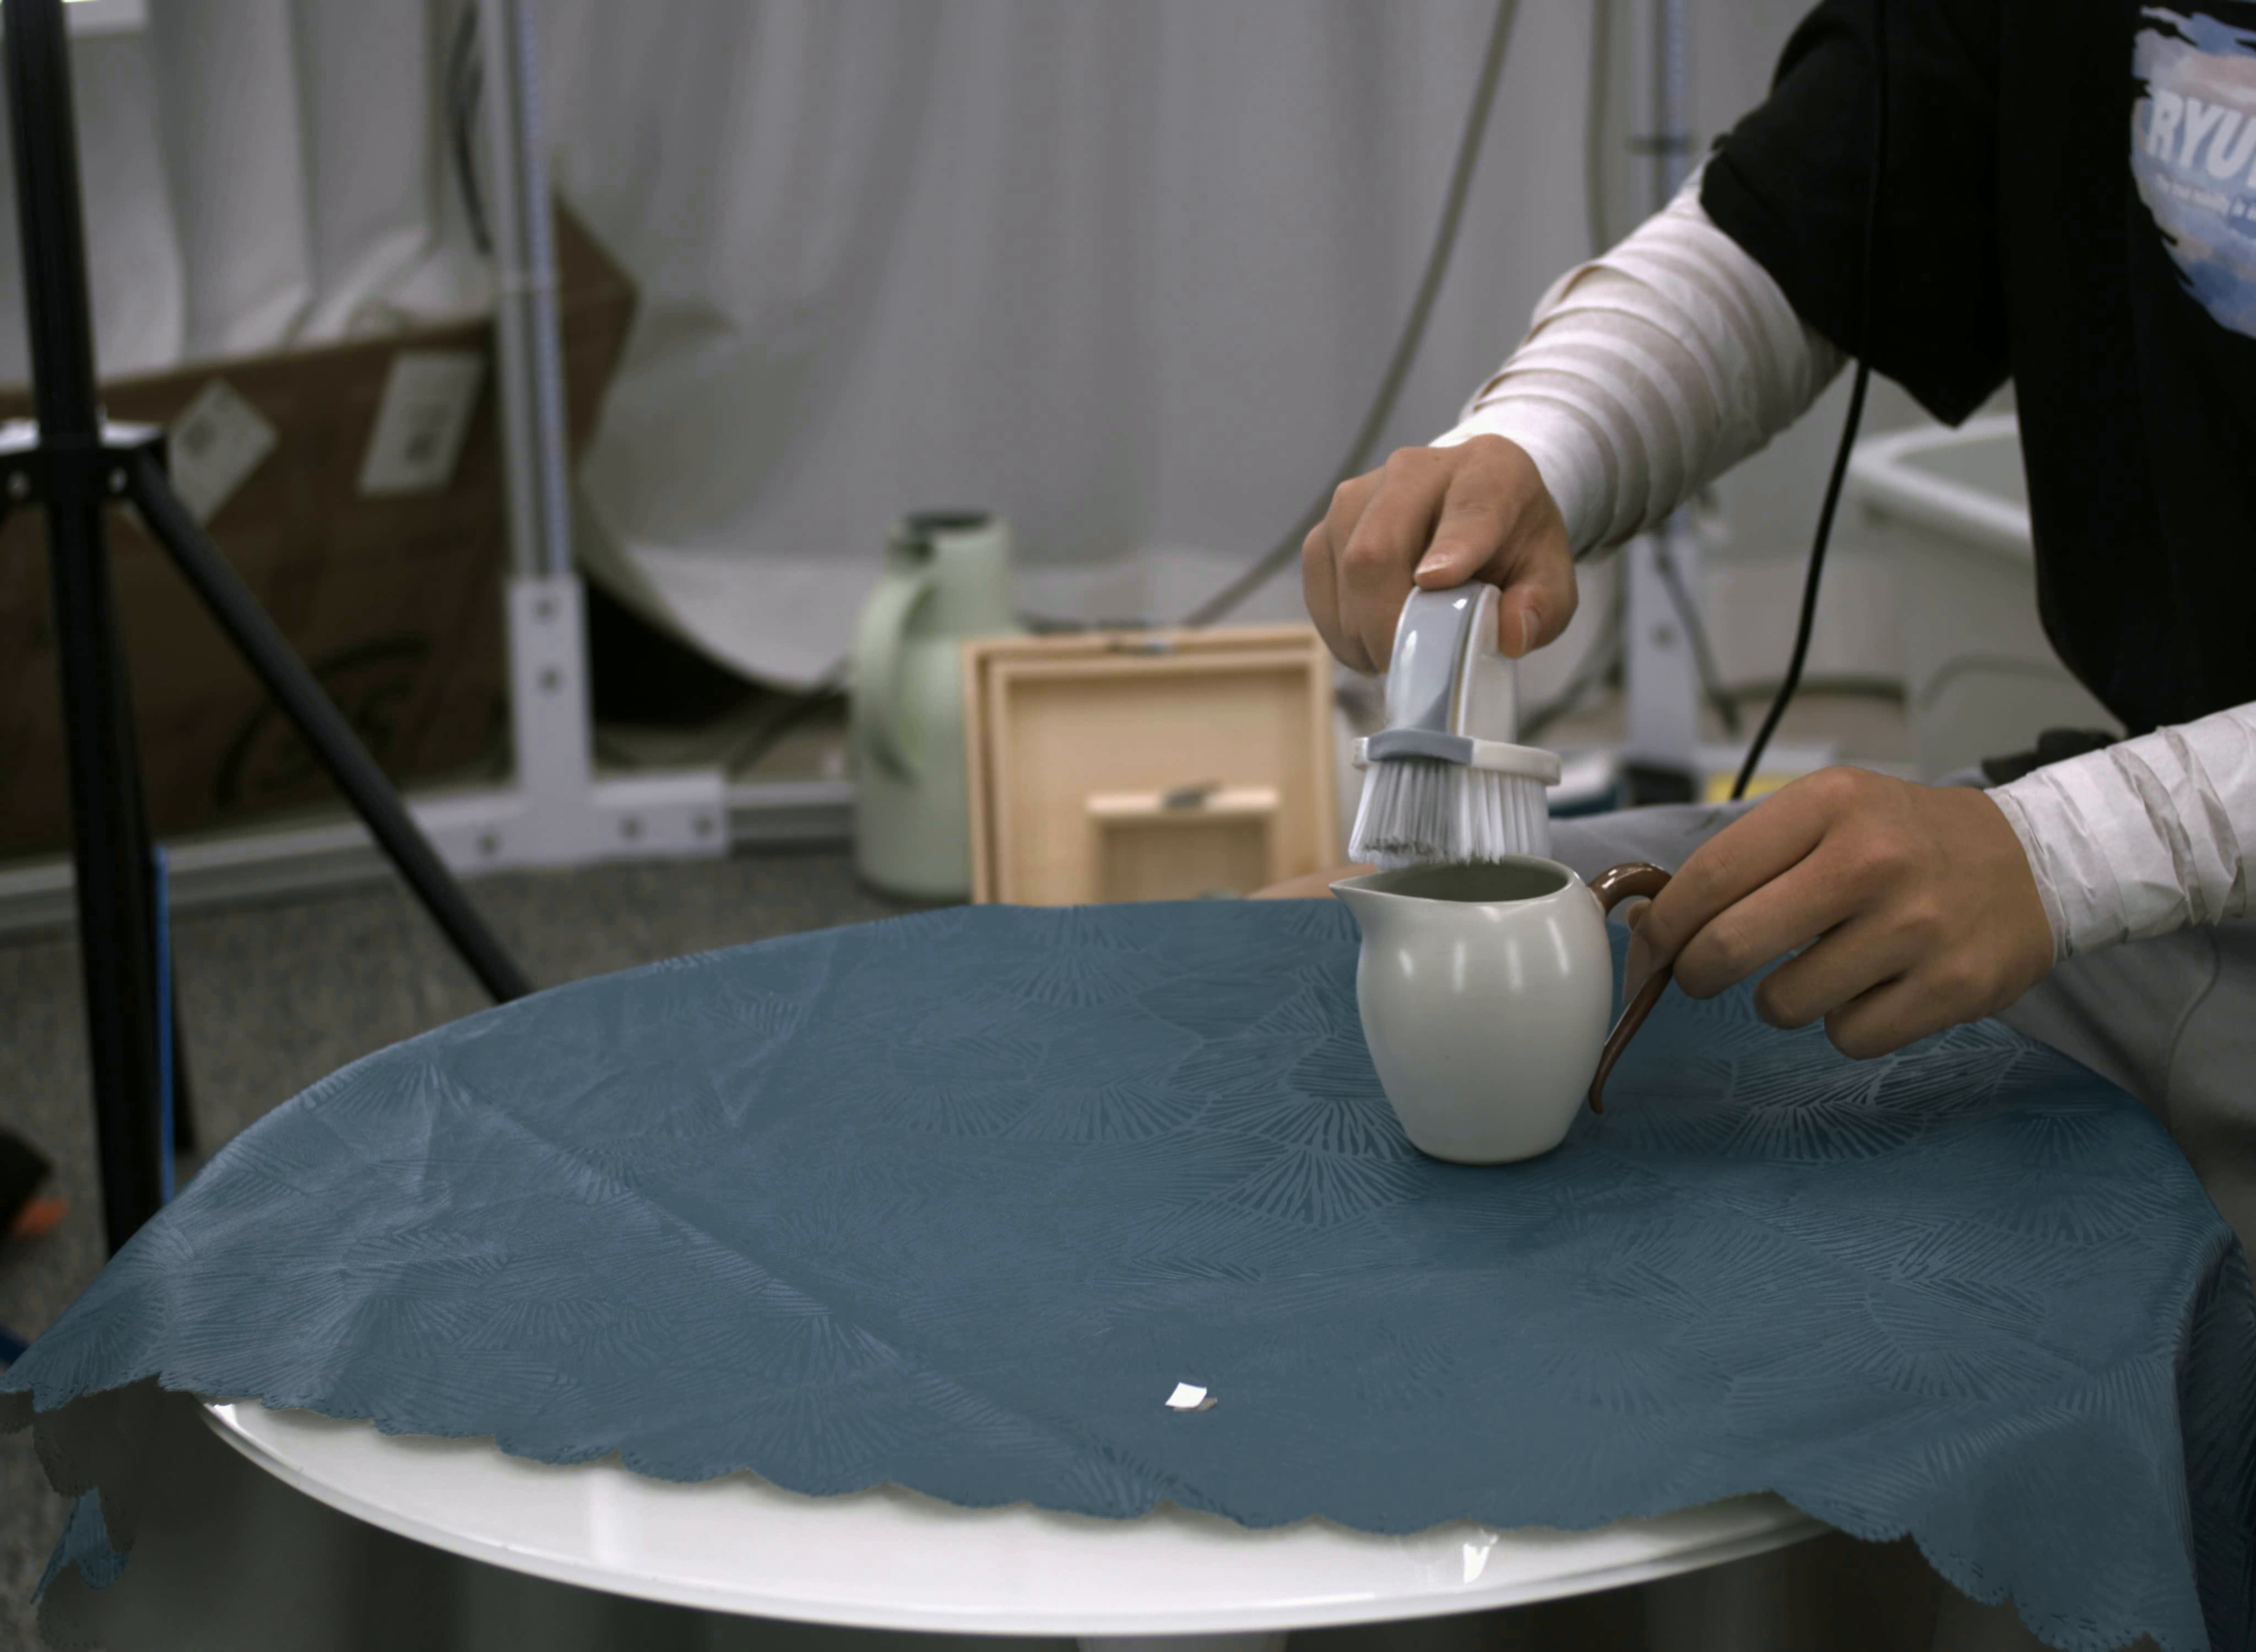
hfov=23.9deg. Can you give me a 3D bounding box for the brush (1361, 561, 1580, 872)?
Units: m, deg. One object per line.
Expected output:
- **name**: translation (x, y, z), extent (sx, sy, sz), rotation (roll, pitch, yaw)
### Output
- **brush**: translation (0.099, -0.034, 1.620), extent (0.062, 0.095, 0.173), rotation (-4, -1, 13)

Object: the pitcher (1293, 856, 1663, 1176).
- **pitcher**: translation (0.105, 0.055, 1.576), extent (0.117, 0.088, 0.077), rotation (-8, 20, -16)
